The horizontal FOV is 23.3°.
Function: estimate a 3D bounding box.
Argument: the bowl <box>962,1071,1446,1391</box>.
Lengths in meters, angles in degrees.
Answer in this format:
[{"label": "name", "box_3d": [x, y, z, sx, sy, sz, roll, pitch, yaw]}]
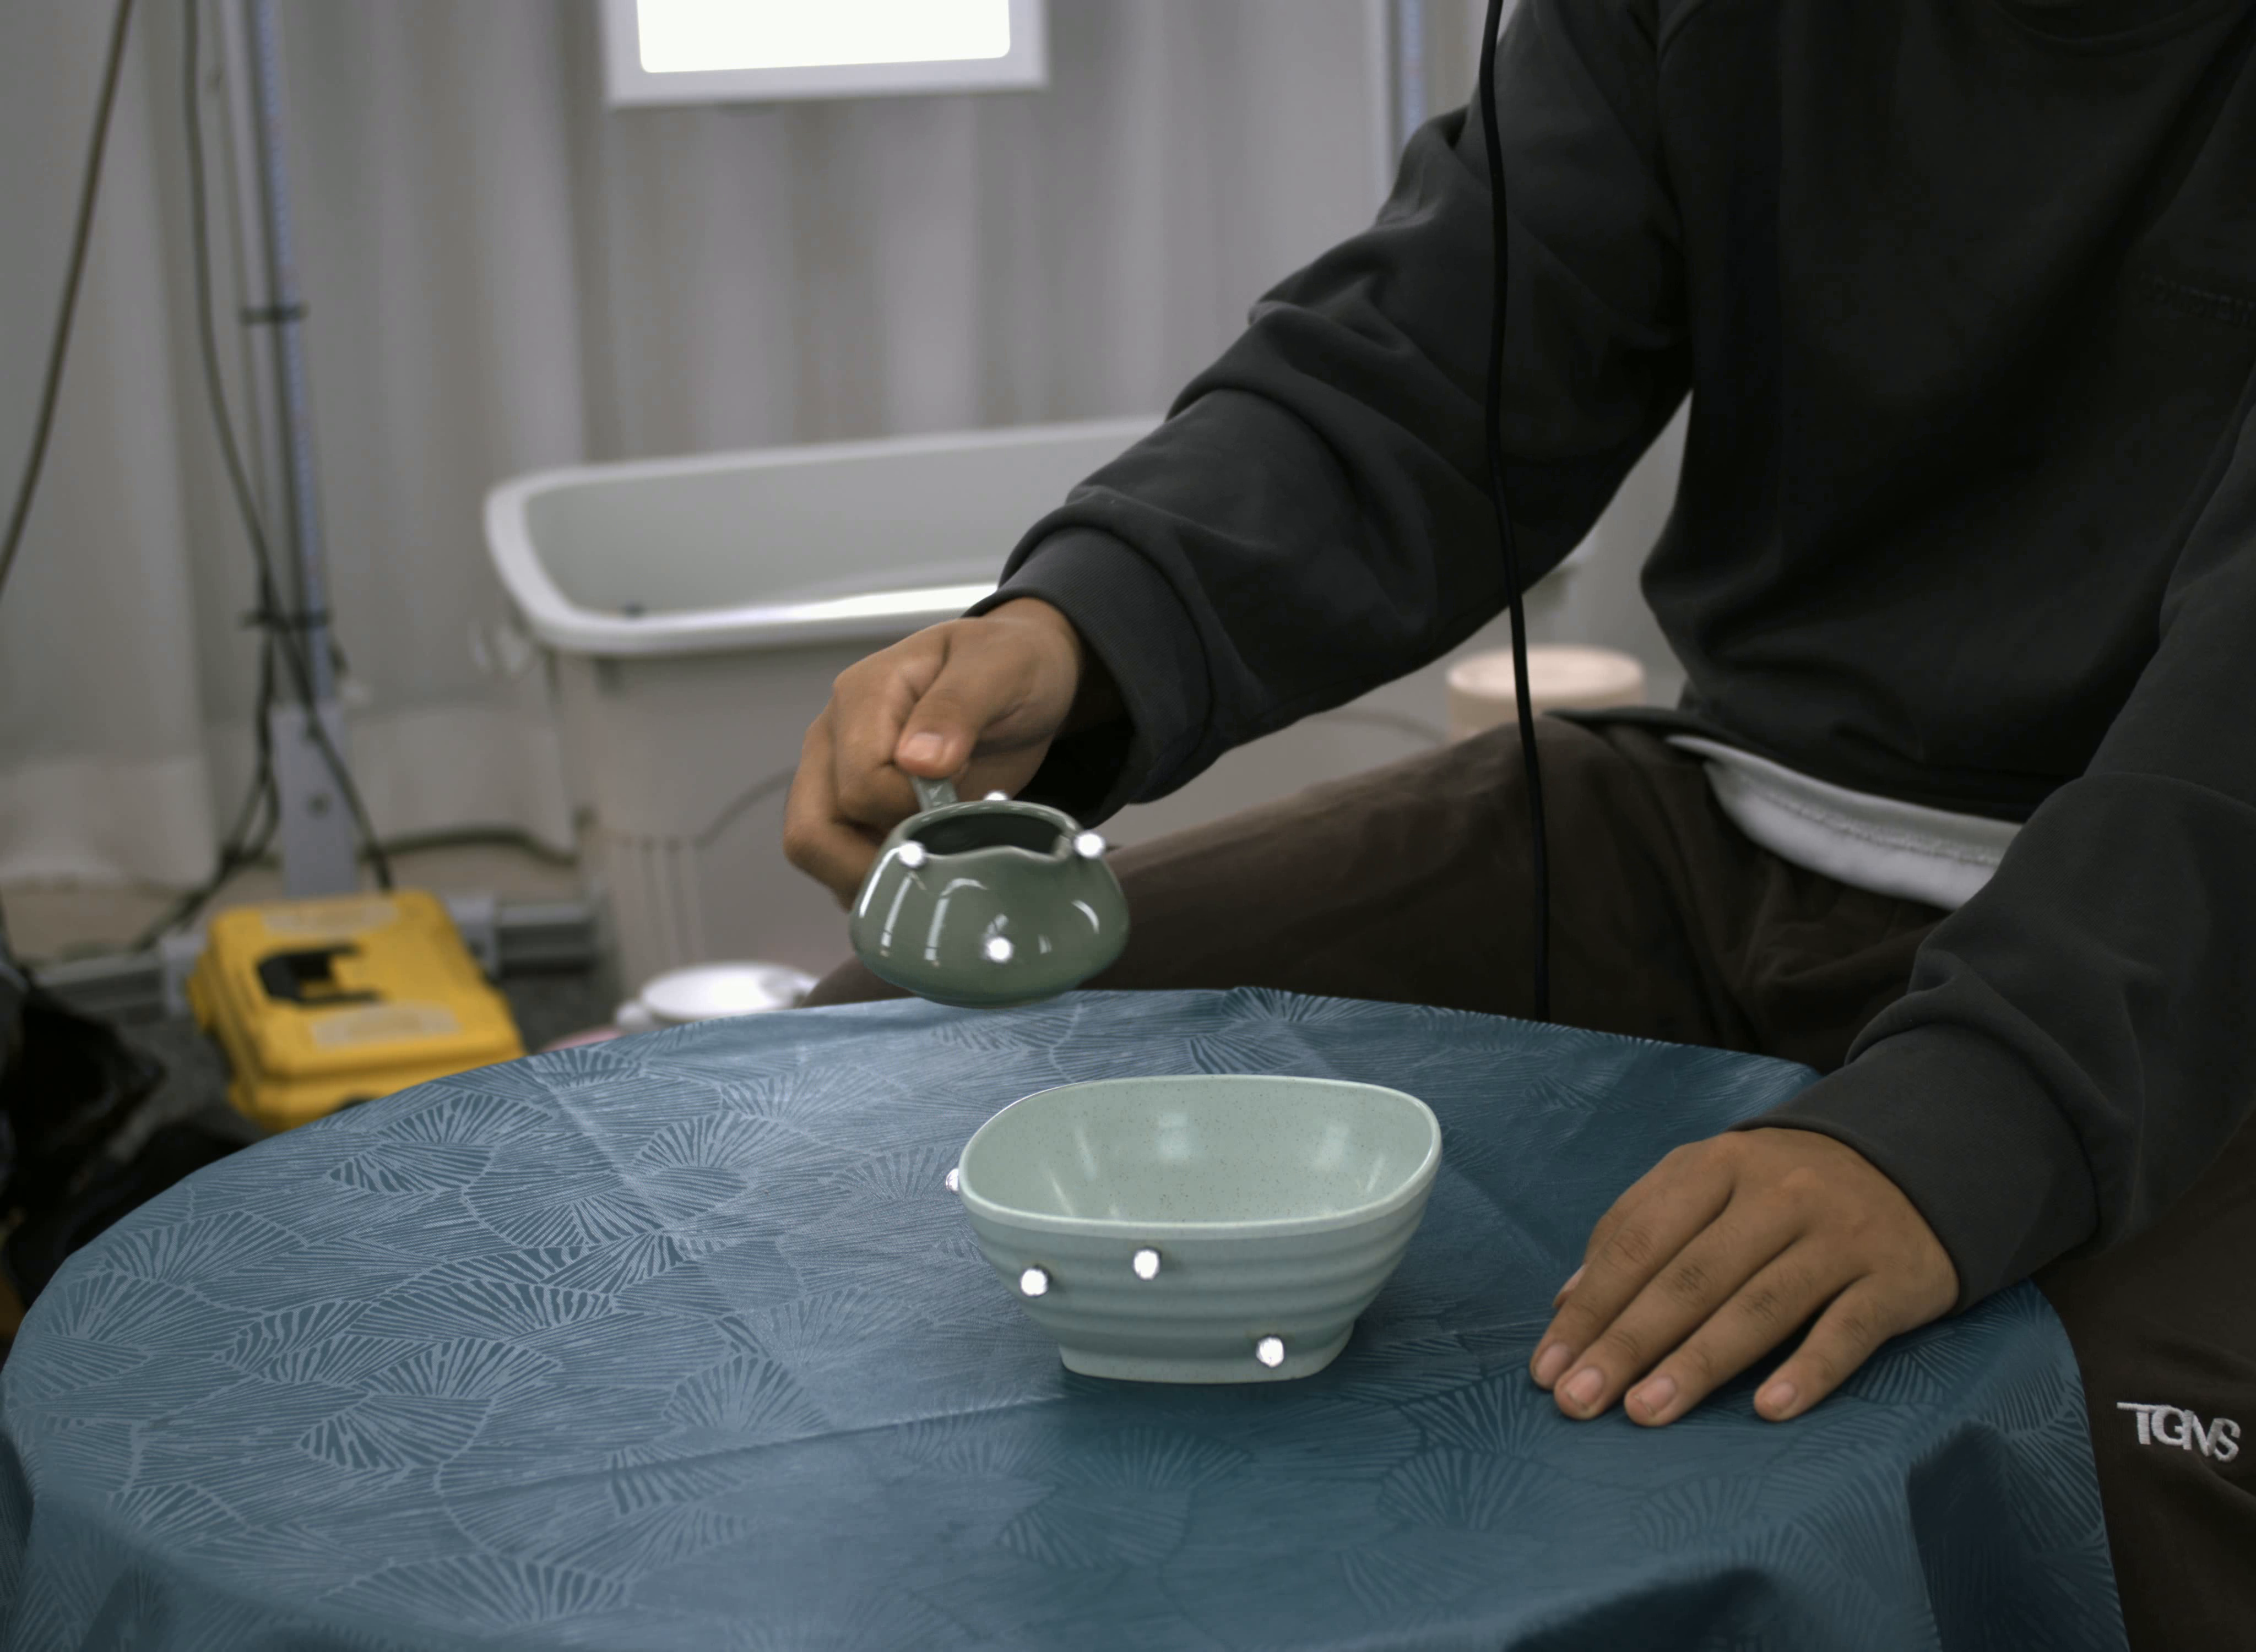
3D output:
[{"label": "bowl", "box_3d": [0.023, 0.121, 1.584, 0.151, 0.058, 0.152, -3, 16, 1]}]

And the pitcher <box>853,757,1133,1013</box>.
[{"label": "pitcher", "box_3d": [-0.044, 0.018, 1.642, 0.084, 0.056, 0.113, -10, 21, -26]}]
